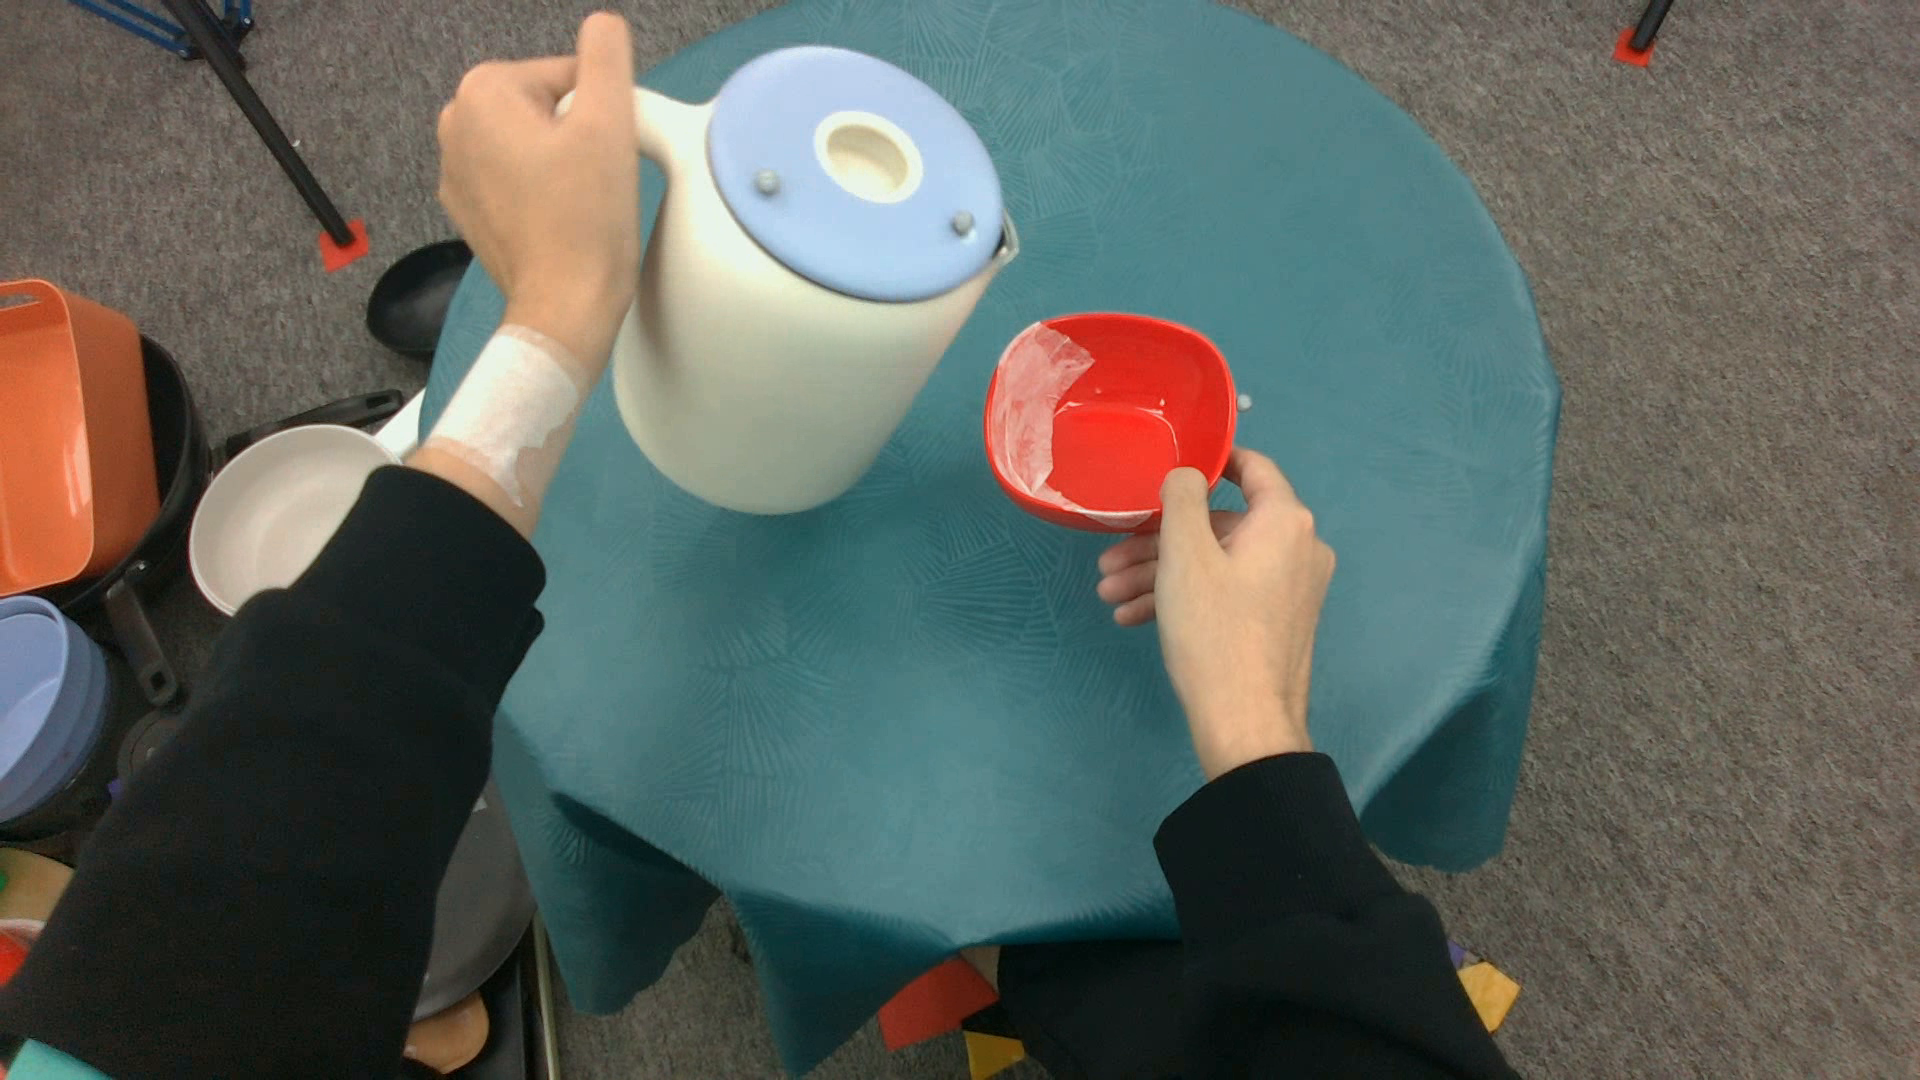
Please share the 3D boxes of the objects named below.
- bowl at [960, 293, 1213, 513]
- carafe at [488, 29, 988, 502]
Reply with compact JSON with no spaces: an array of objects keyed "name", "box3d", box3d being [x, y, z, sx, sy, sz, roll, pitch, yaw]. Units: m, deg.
[{"name":"bowl","box3d":[0.056,-0.054,0.622,0.119,0.051,0.119,0,57,1]},{"name":"carafe","box3d":[-0.102,-0.118,0.585,0.191,0.181,0.133,16,56,-11]}]
